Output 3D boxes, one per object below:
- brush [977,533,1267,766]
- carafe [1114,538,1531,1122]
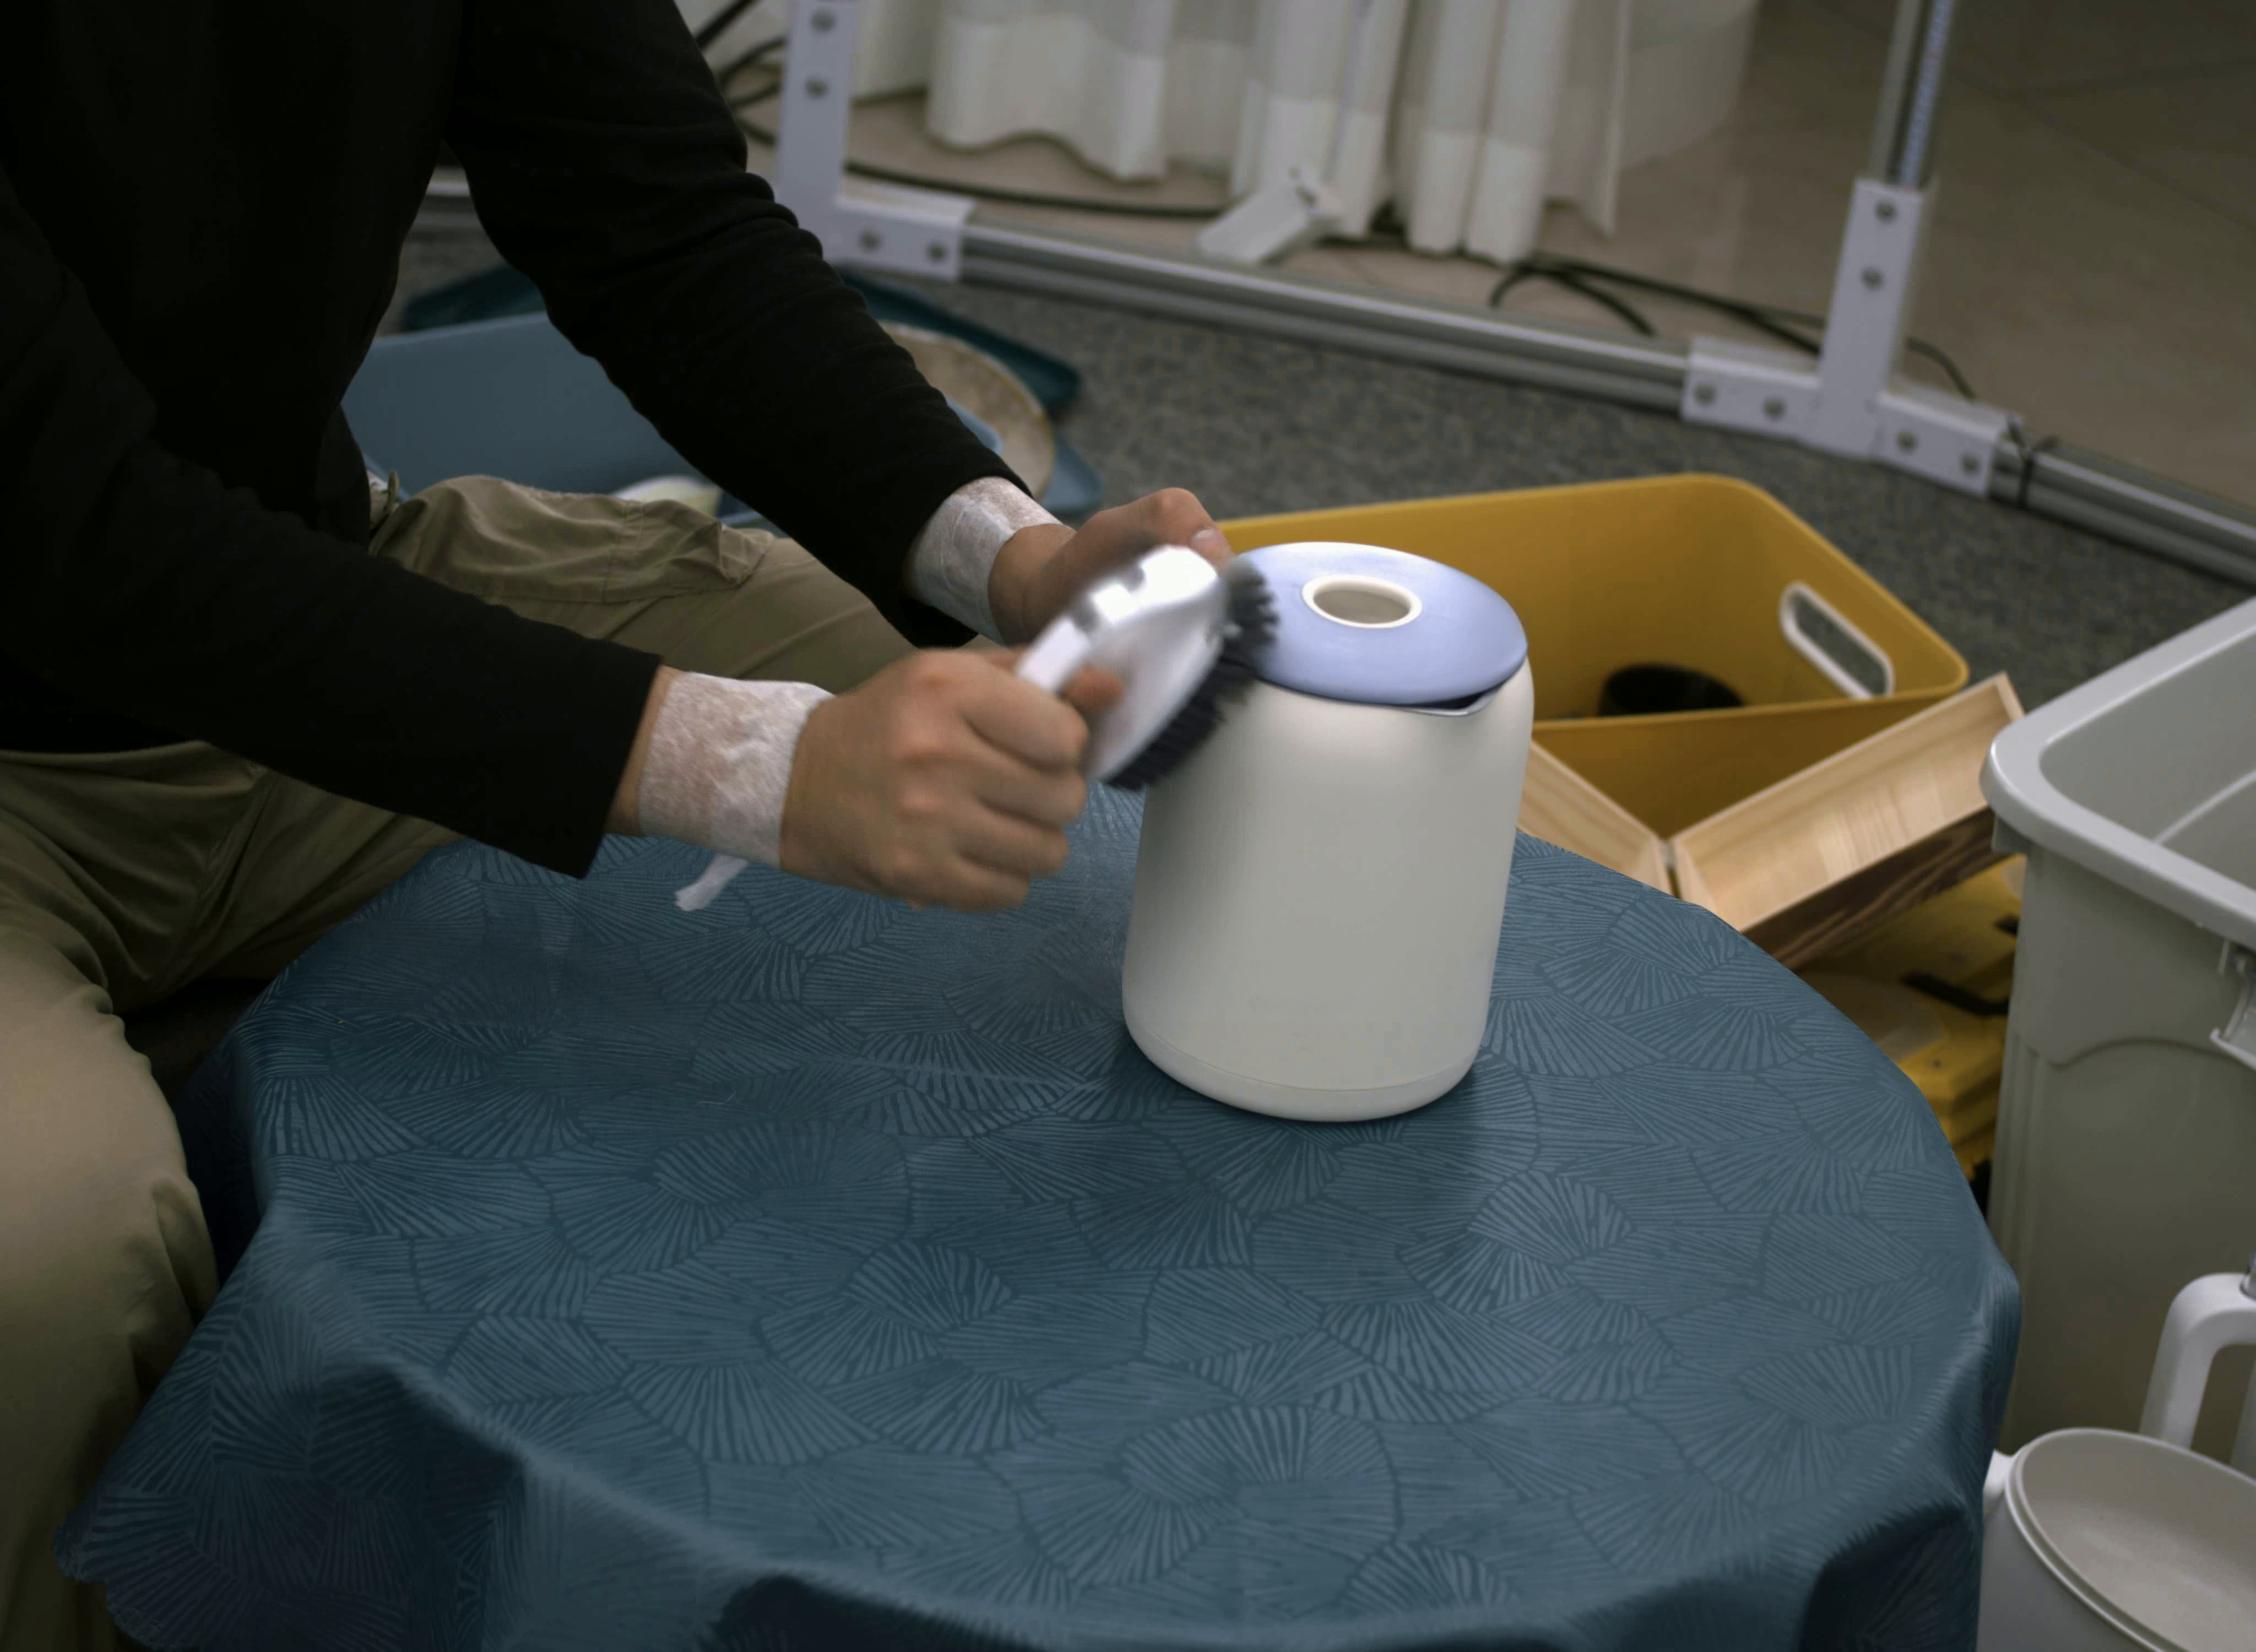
[{"bbox_3d":[-0.010,-0.059,1.792,0.072,0.099,0.050,2,52,-48],"label":"brush"},{"bbox_3d":[0.056,-0.010,1.888,0.131,0.182,0.193,-11,30,-32],"label":"carafe"}]
